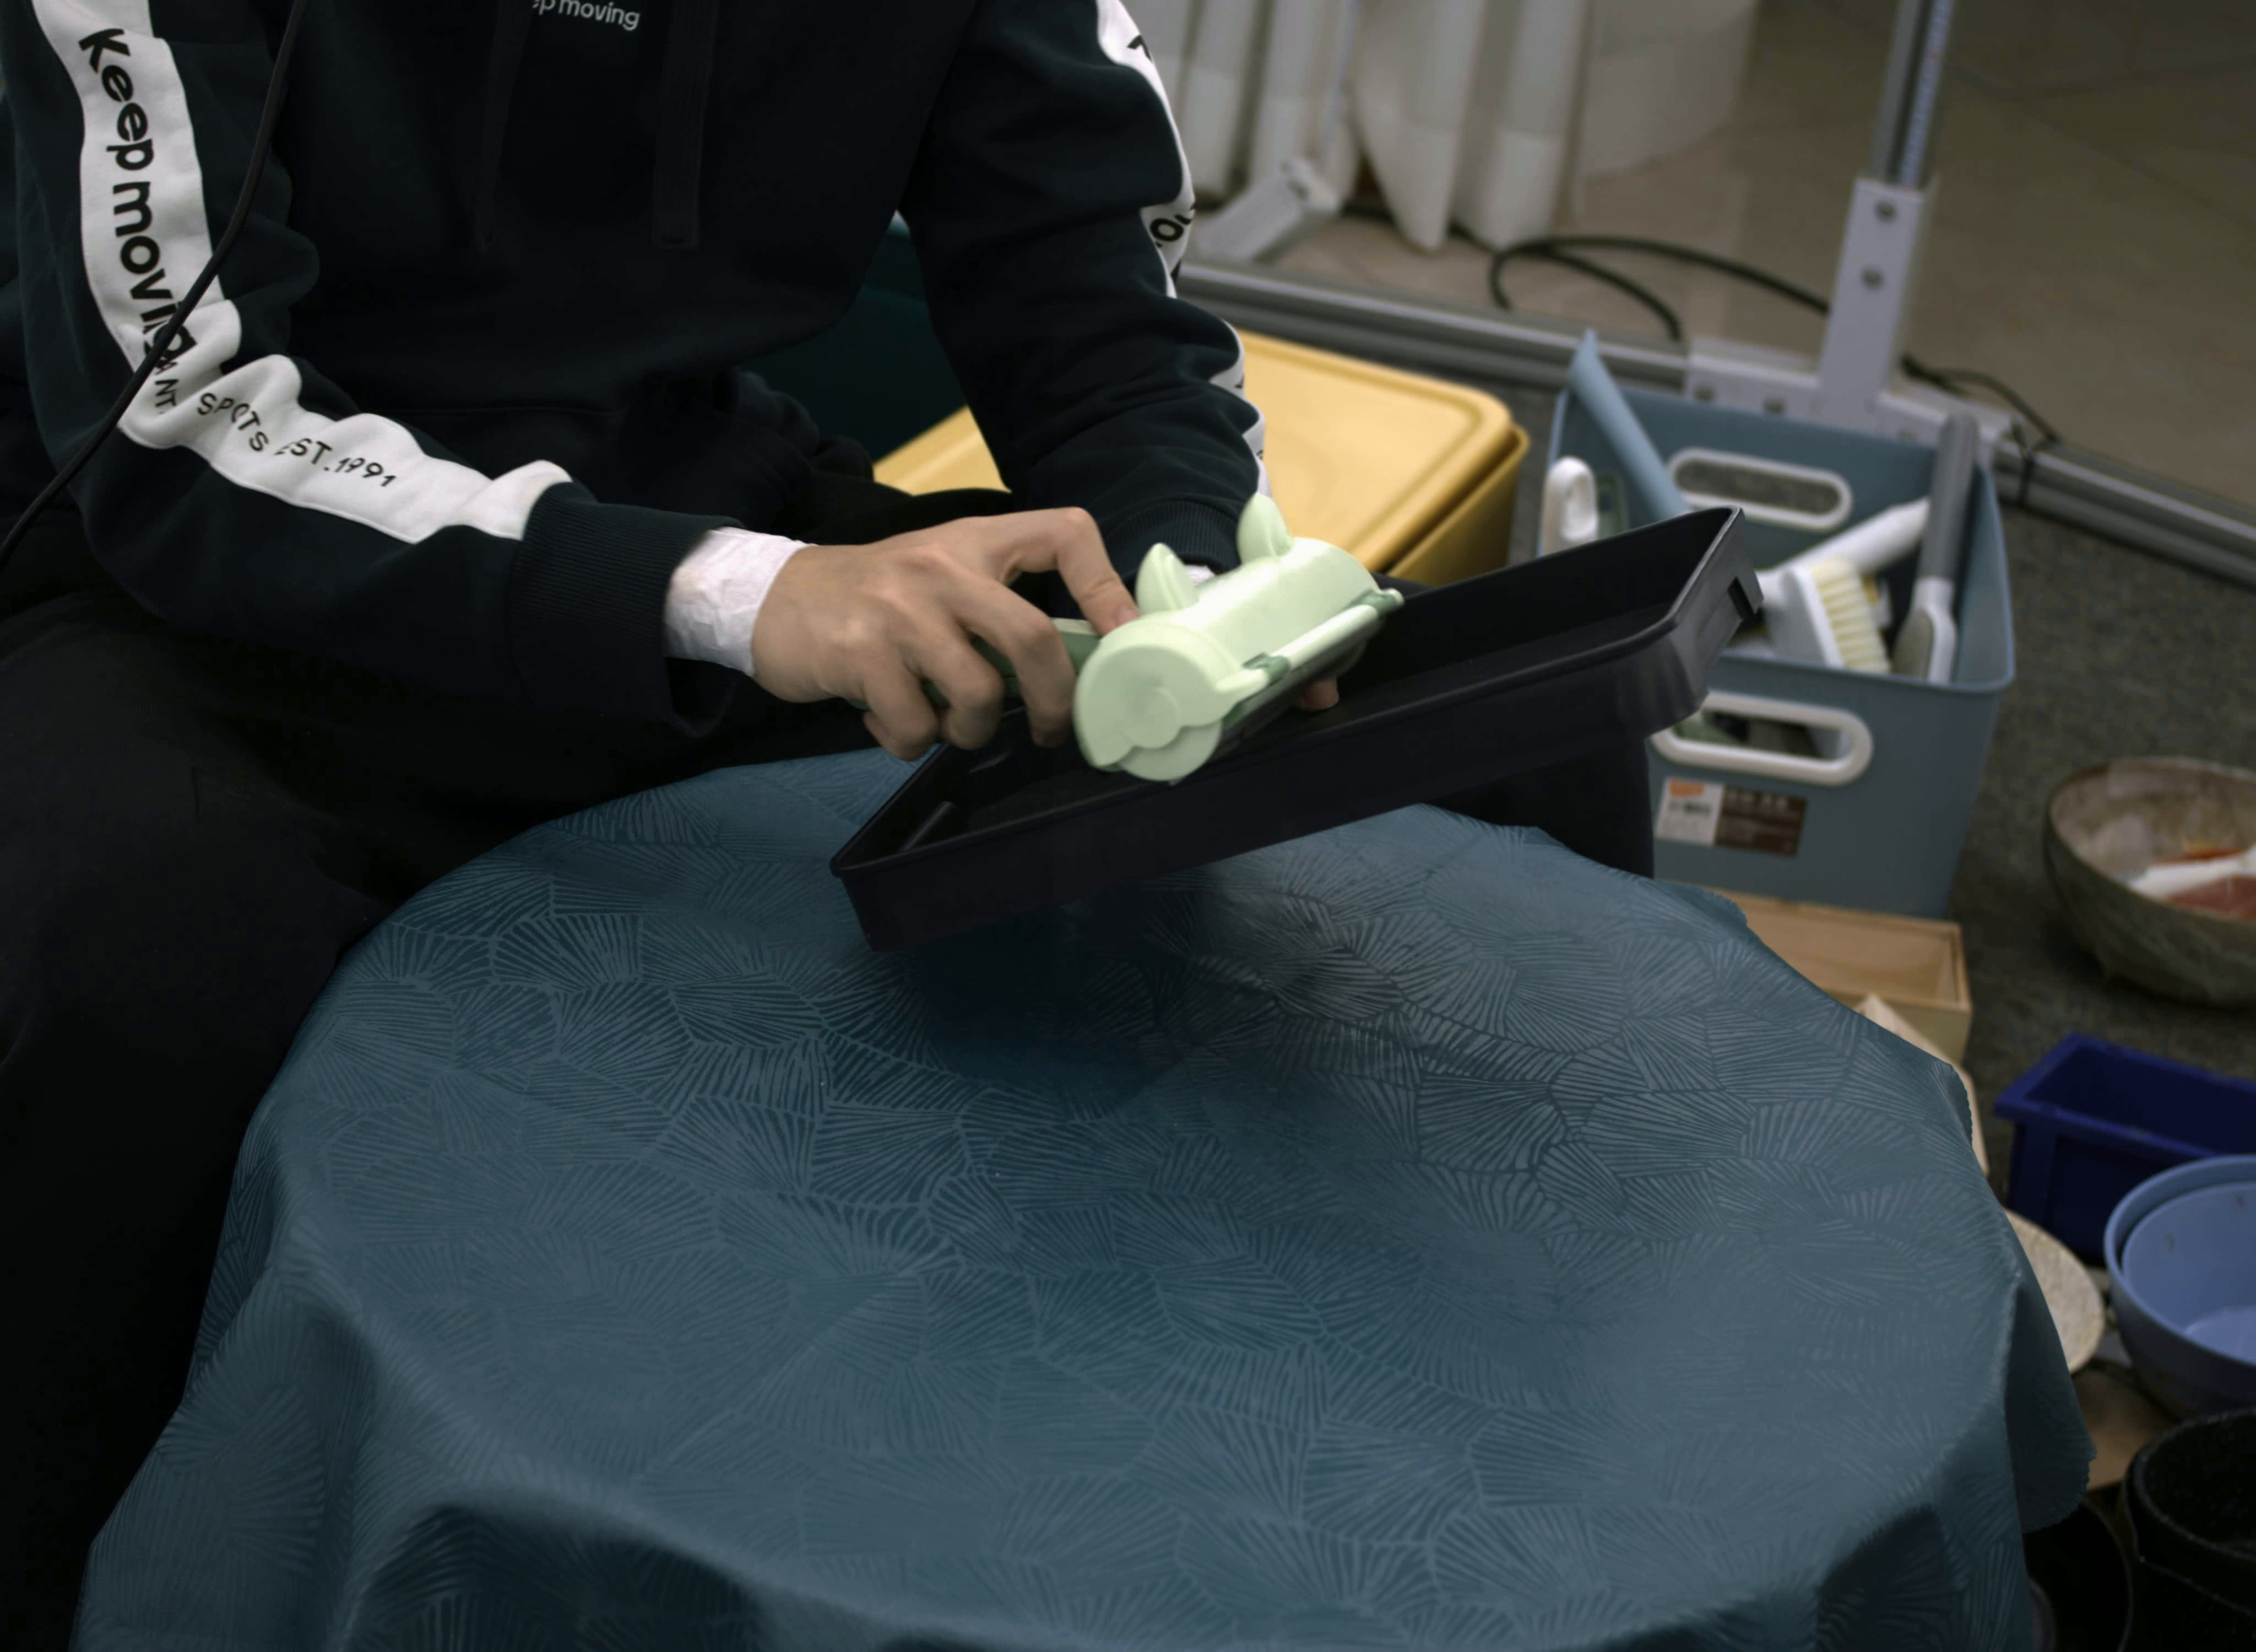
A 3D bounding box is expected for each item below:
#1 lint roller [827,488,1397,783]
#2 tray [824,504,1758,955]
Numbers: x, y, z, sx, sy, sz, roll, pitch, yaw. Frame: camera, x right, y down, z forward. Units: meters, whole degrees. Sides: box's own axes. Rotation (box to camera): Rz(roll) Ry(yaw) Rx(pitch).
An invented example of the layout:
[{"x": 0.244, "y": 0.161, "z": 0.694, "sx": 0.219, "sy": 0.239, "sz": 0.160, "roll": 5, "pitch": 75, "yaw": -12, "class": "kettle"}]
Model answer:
[{"x": -0.018, "y": -0.073, "z": 1.854, "sx": 0.183, "sy": 0.082, "sz": 0.198, "roll": 8, "pitch": 15, "yaw": 18, "class": "lint roller"}, {"x": 0.060, "y": -0.035, "z": 1.880, "sx": 0.318, "sy": 0.037, "sz": 0.184, "roll": -16, "pitch": 13, "yaw": 21, "class": "tray"}]
